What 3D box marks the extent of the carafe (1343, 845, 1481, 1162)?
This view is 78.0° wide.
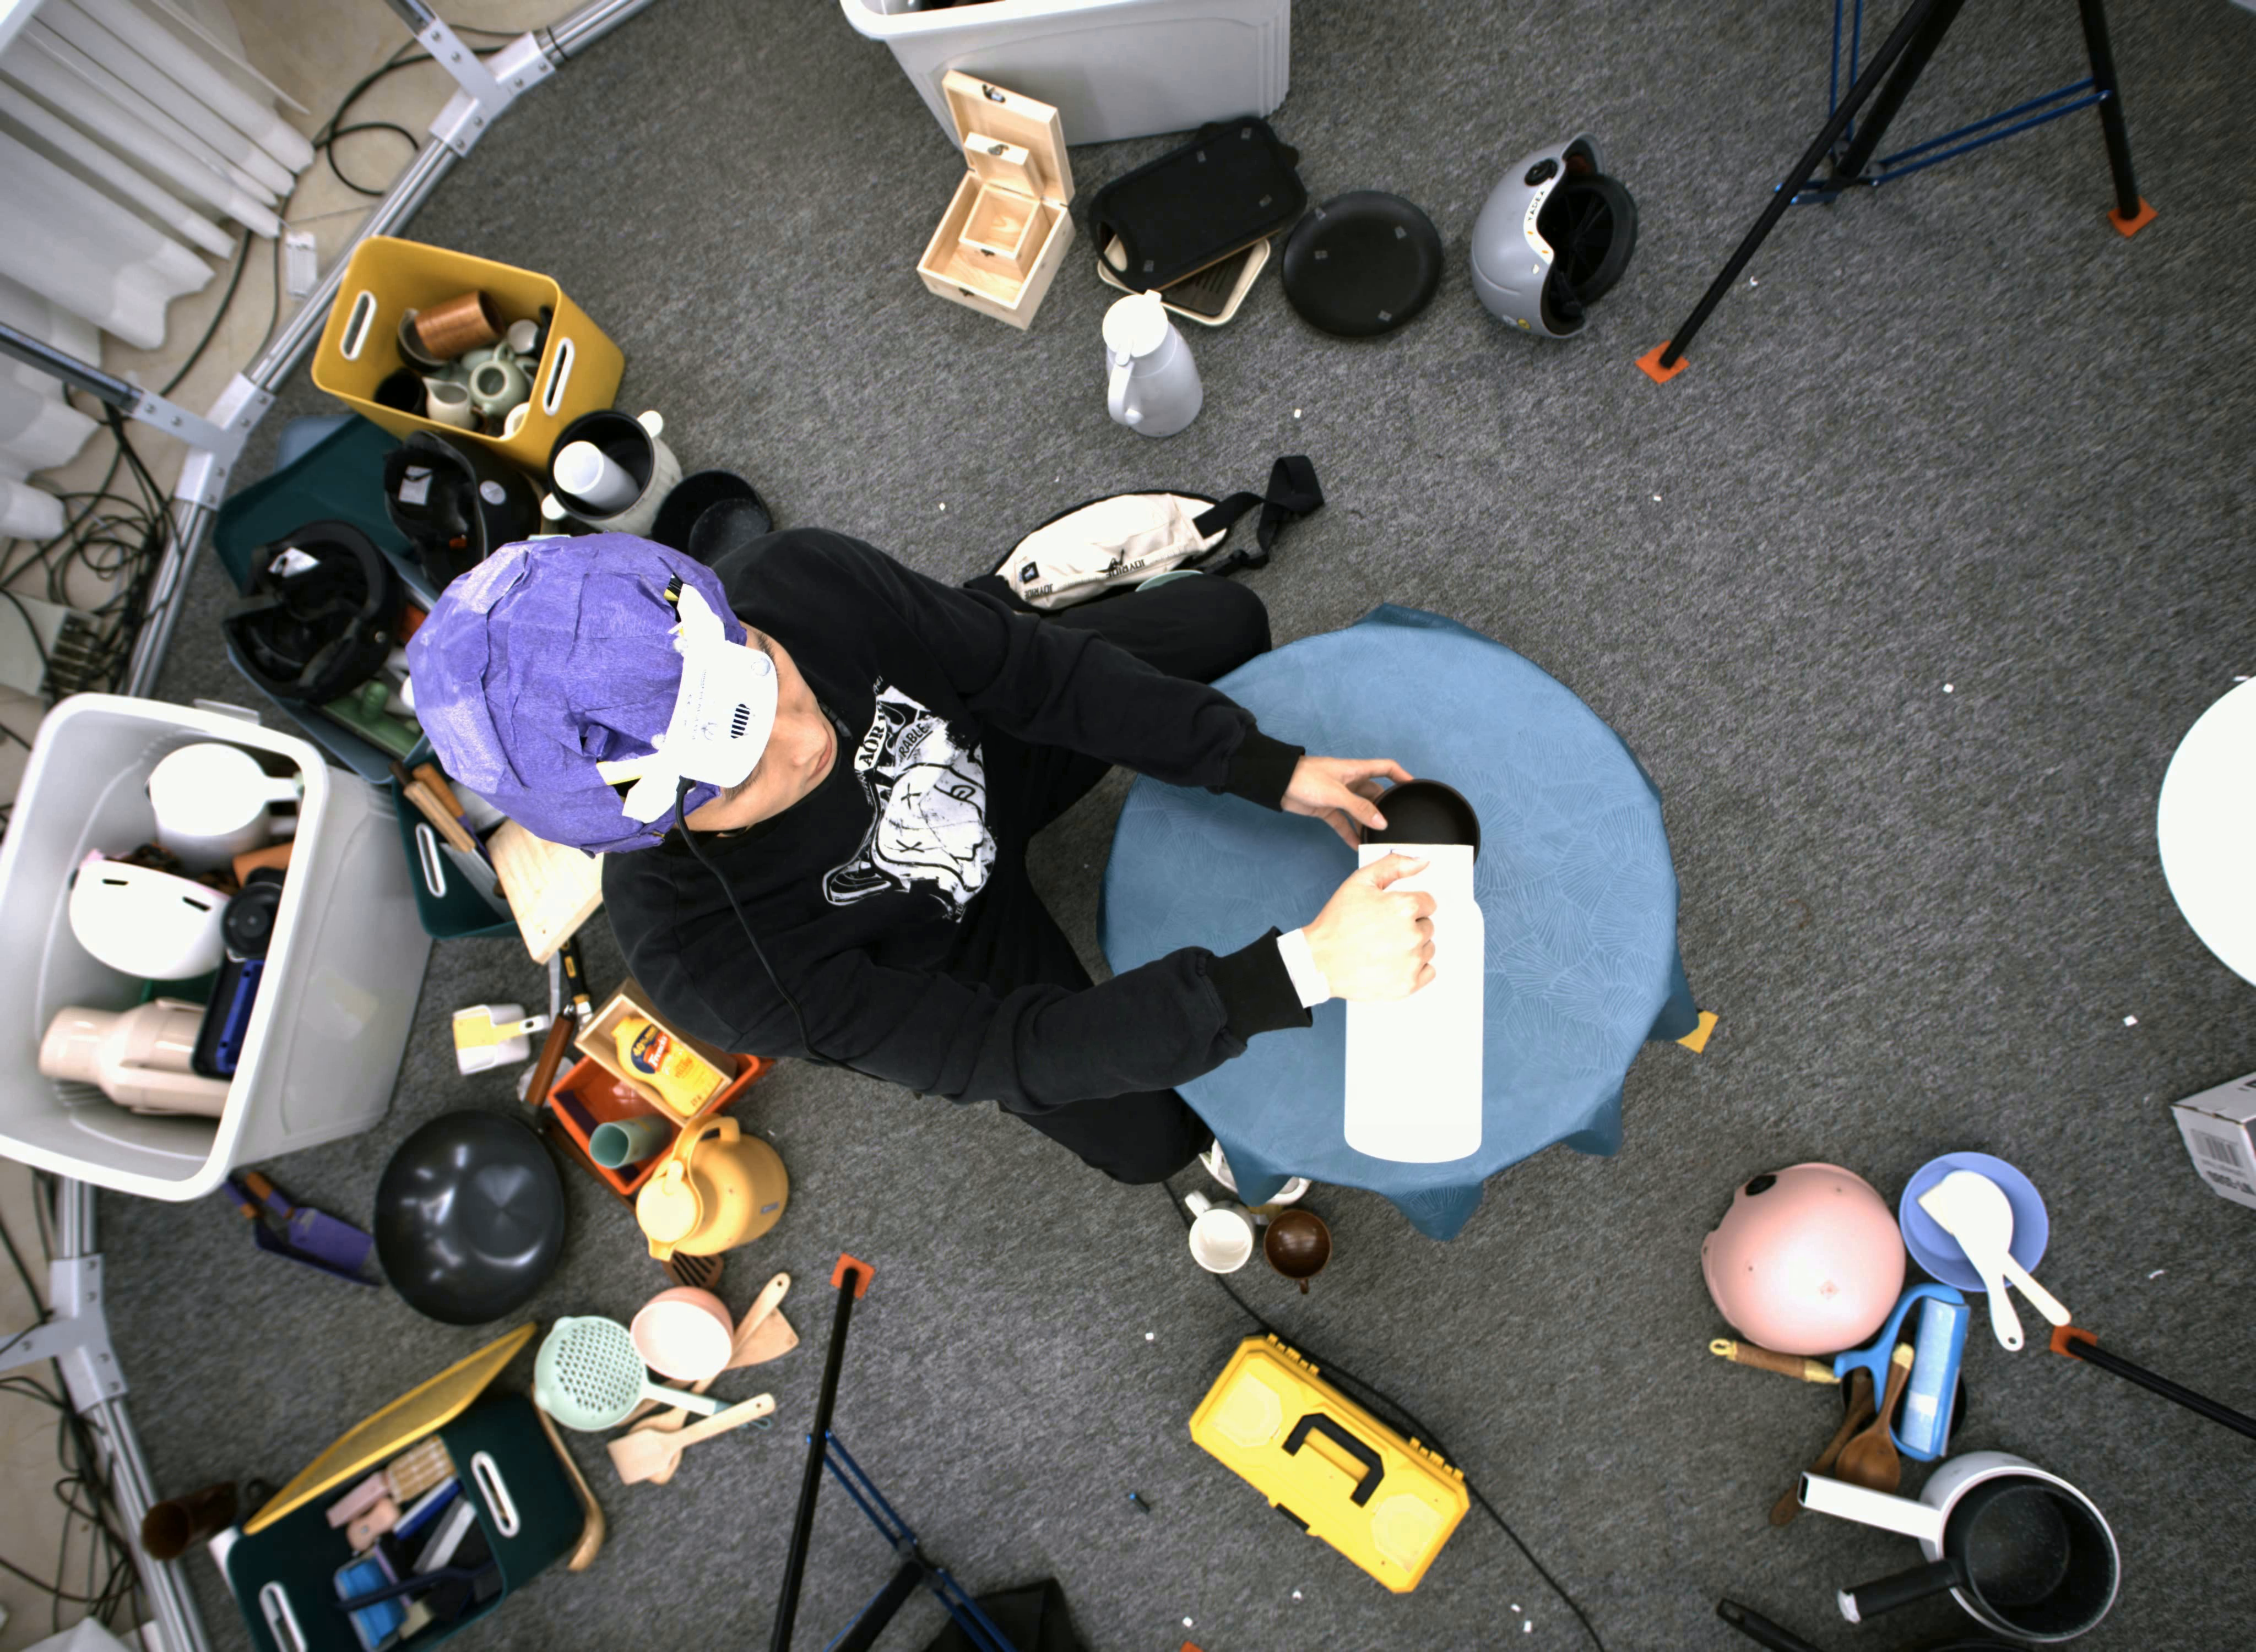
[{"bbox_3d":[0.243,0.149,1.190,0.124,0.171,0.269,3,94,20],"label":"carafe"}]

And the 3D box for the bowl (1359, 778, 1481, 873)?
[{"bbox_3d":[0.287,0.012,1.369,0.118,0.070,0.118,0,89,6],"label":"bowl"}]
